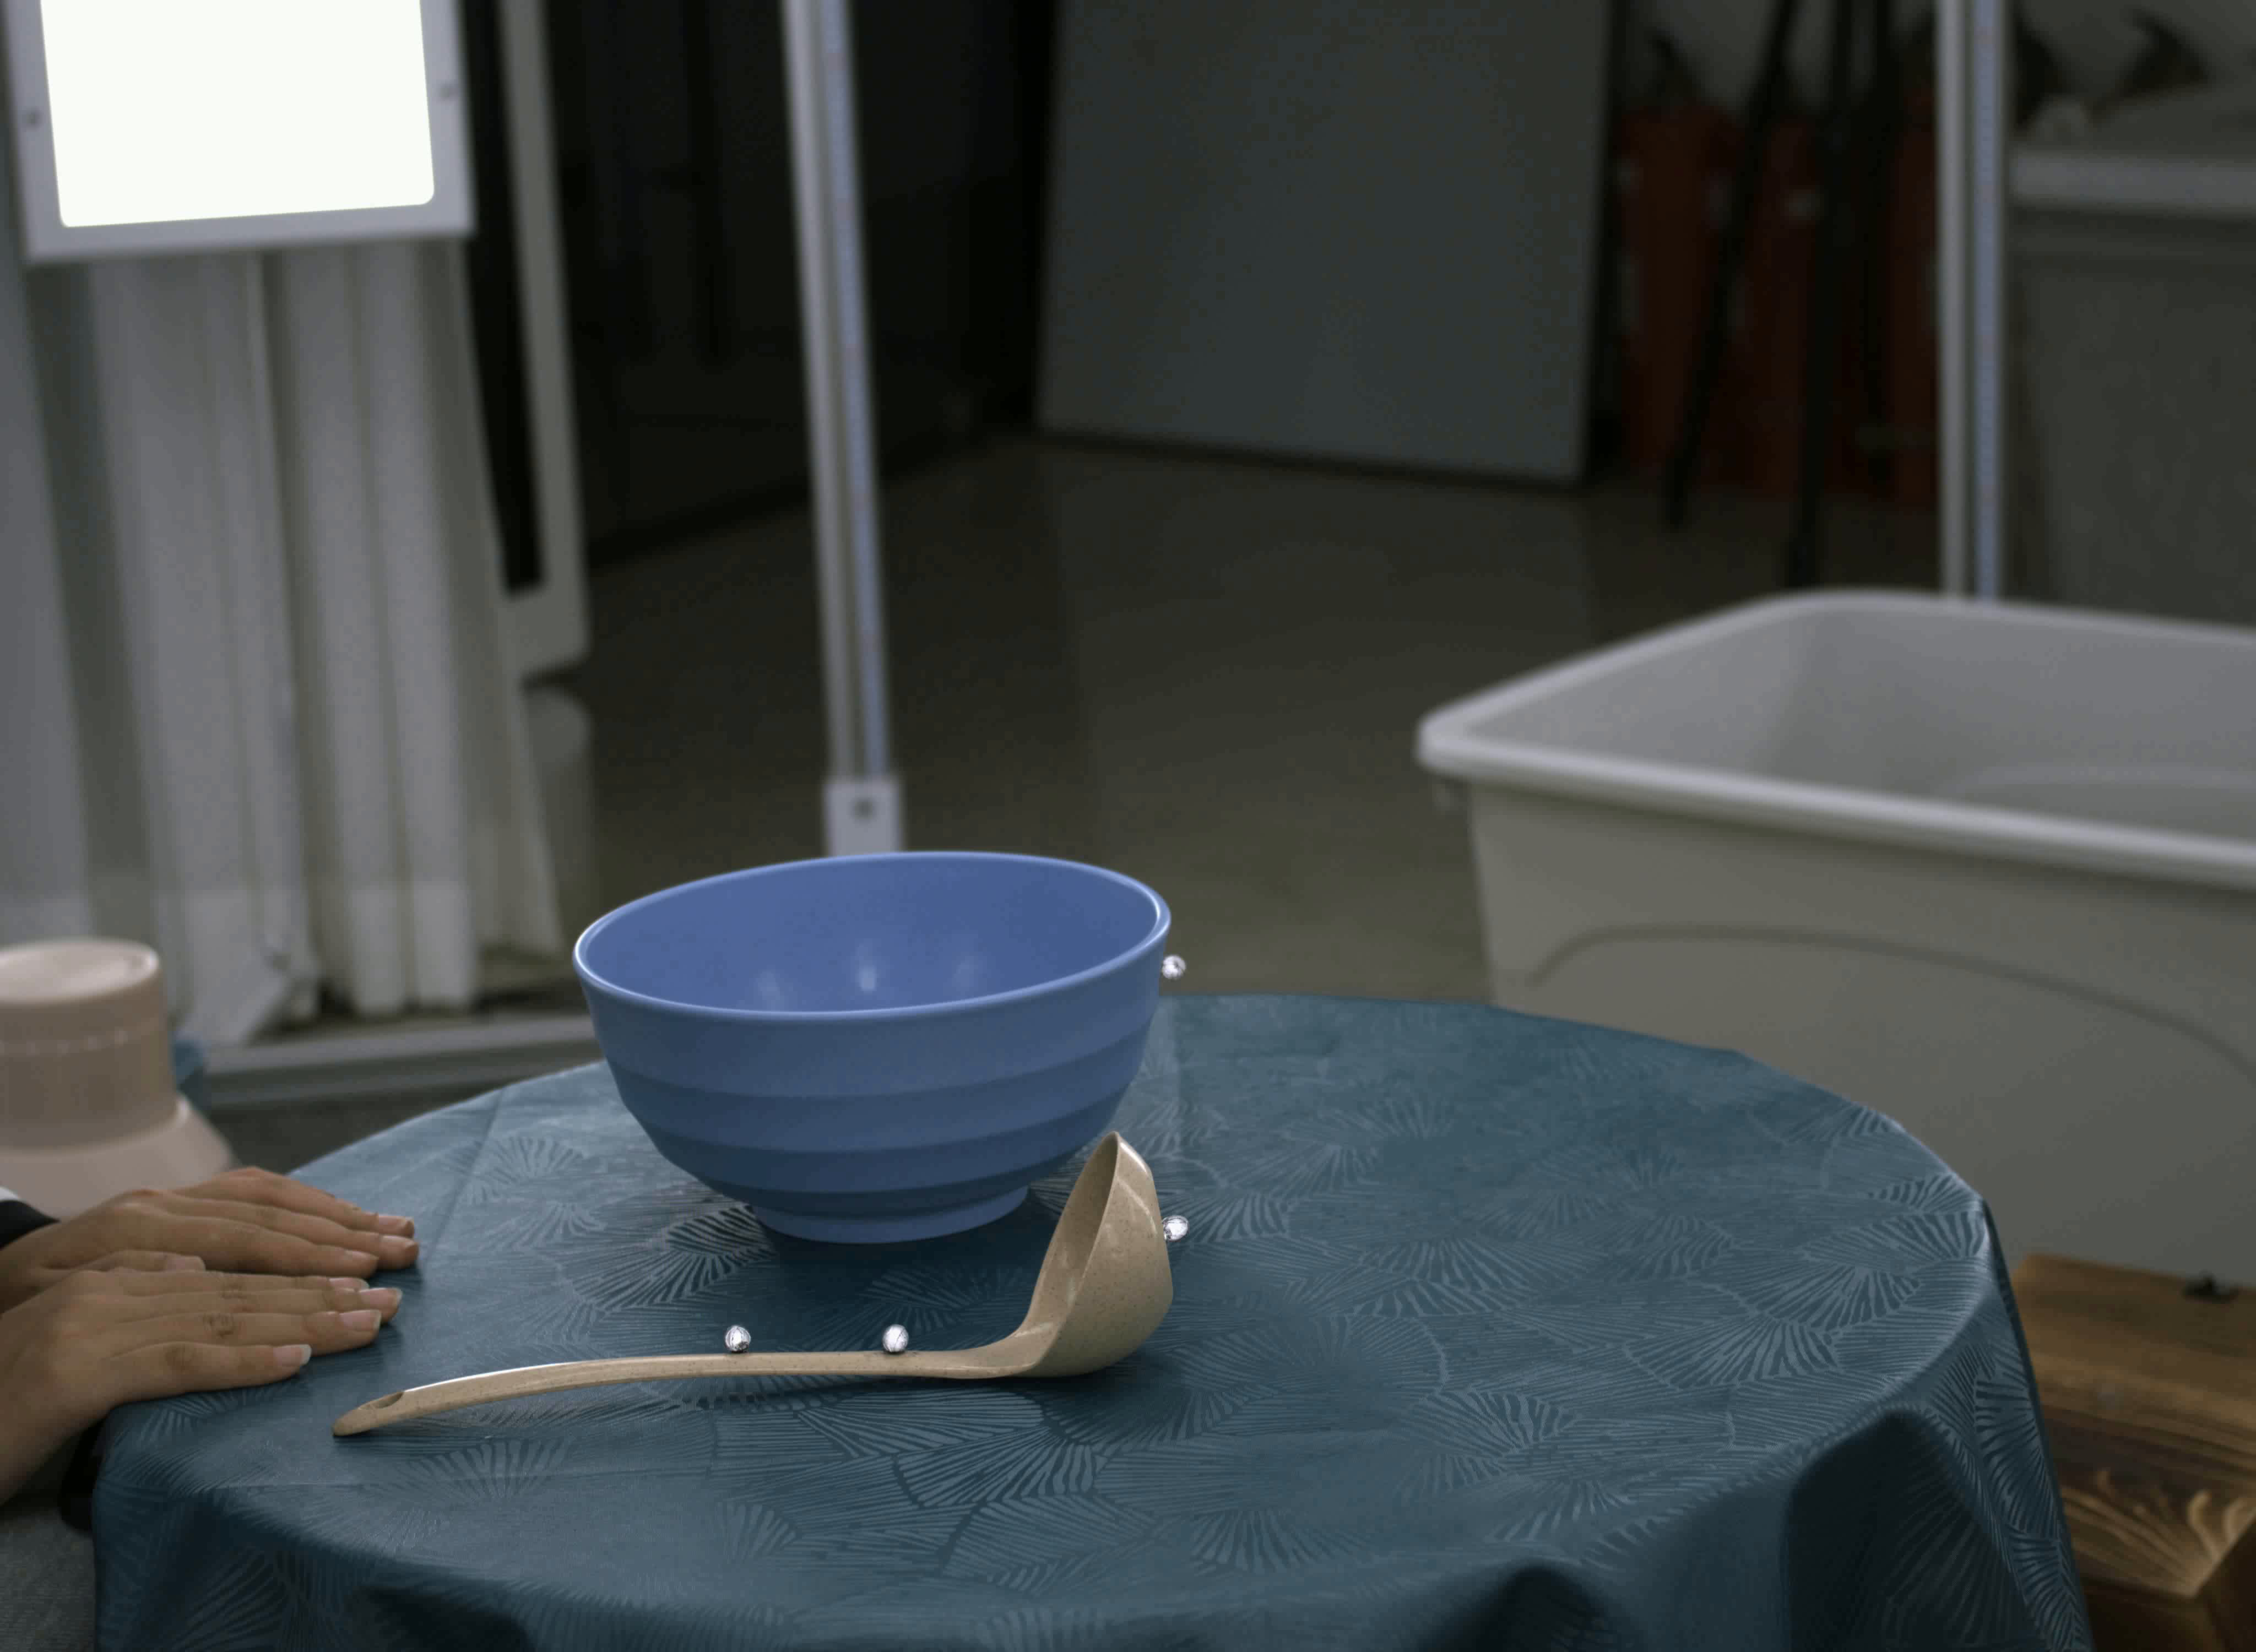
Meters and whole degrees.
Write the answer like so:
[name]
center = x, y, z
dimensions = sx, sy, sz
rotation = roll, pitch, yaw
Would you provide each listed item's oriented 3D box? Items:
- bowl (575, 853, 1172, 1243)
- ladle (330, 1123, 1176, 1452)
[bowl]
center = -0.082, 0.077, 1.767
dimensions = 0.194, 0.096, 0.197
rotation = -1, 13, -1
[ladle]
center = -0.112, 0.135, 1.592
dimensions = 0.250, 0.073, 0.072
rotation = -5, 12, -5
